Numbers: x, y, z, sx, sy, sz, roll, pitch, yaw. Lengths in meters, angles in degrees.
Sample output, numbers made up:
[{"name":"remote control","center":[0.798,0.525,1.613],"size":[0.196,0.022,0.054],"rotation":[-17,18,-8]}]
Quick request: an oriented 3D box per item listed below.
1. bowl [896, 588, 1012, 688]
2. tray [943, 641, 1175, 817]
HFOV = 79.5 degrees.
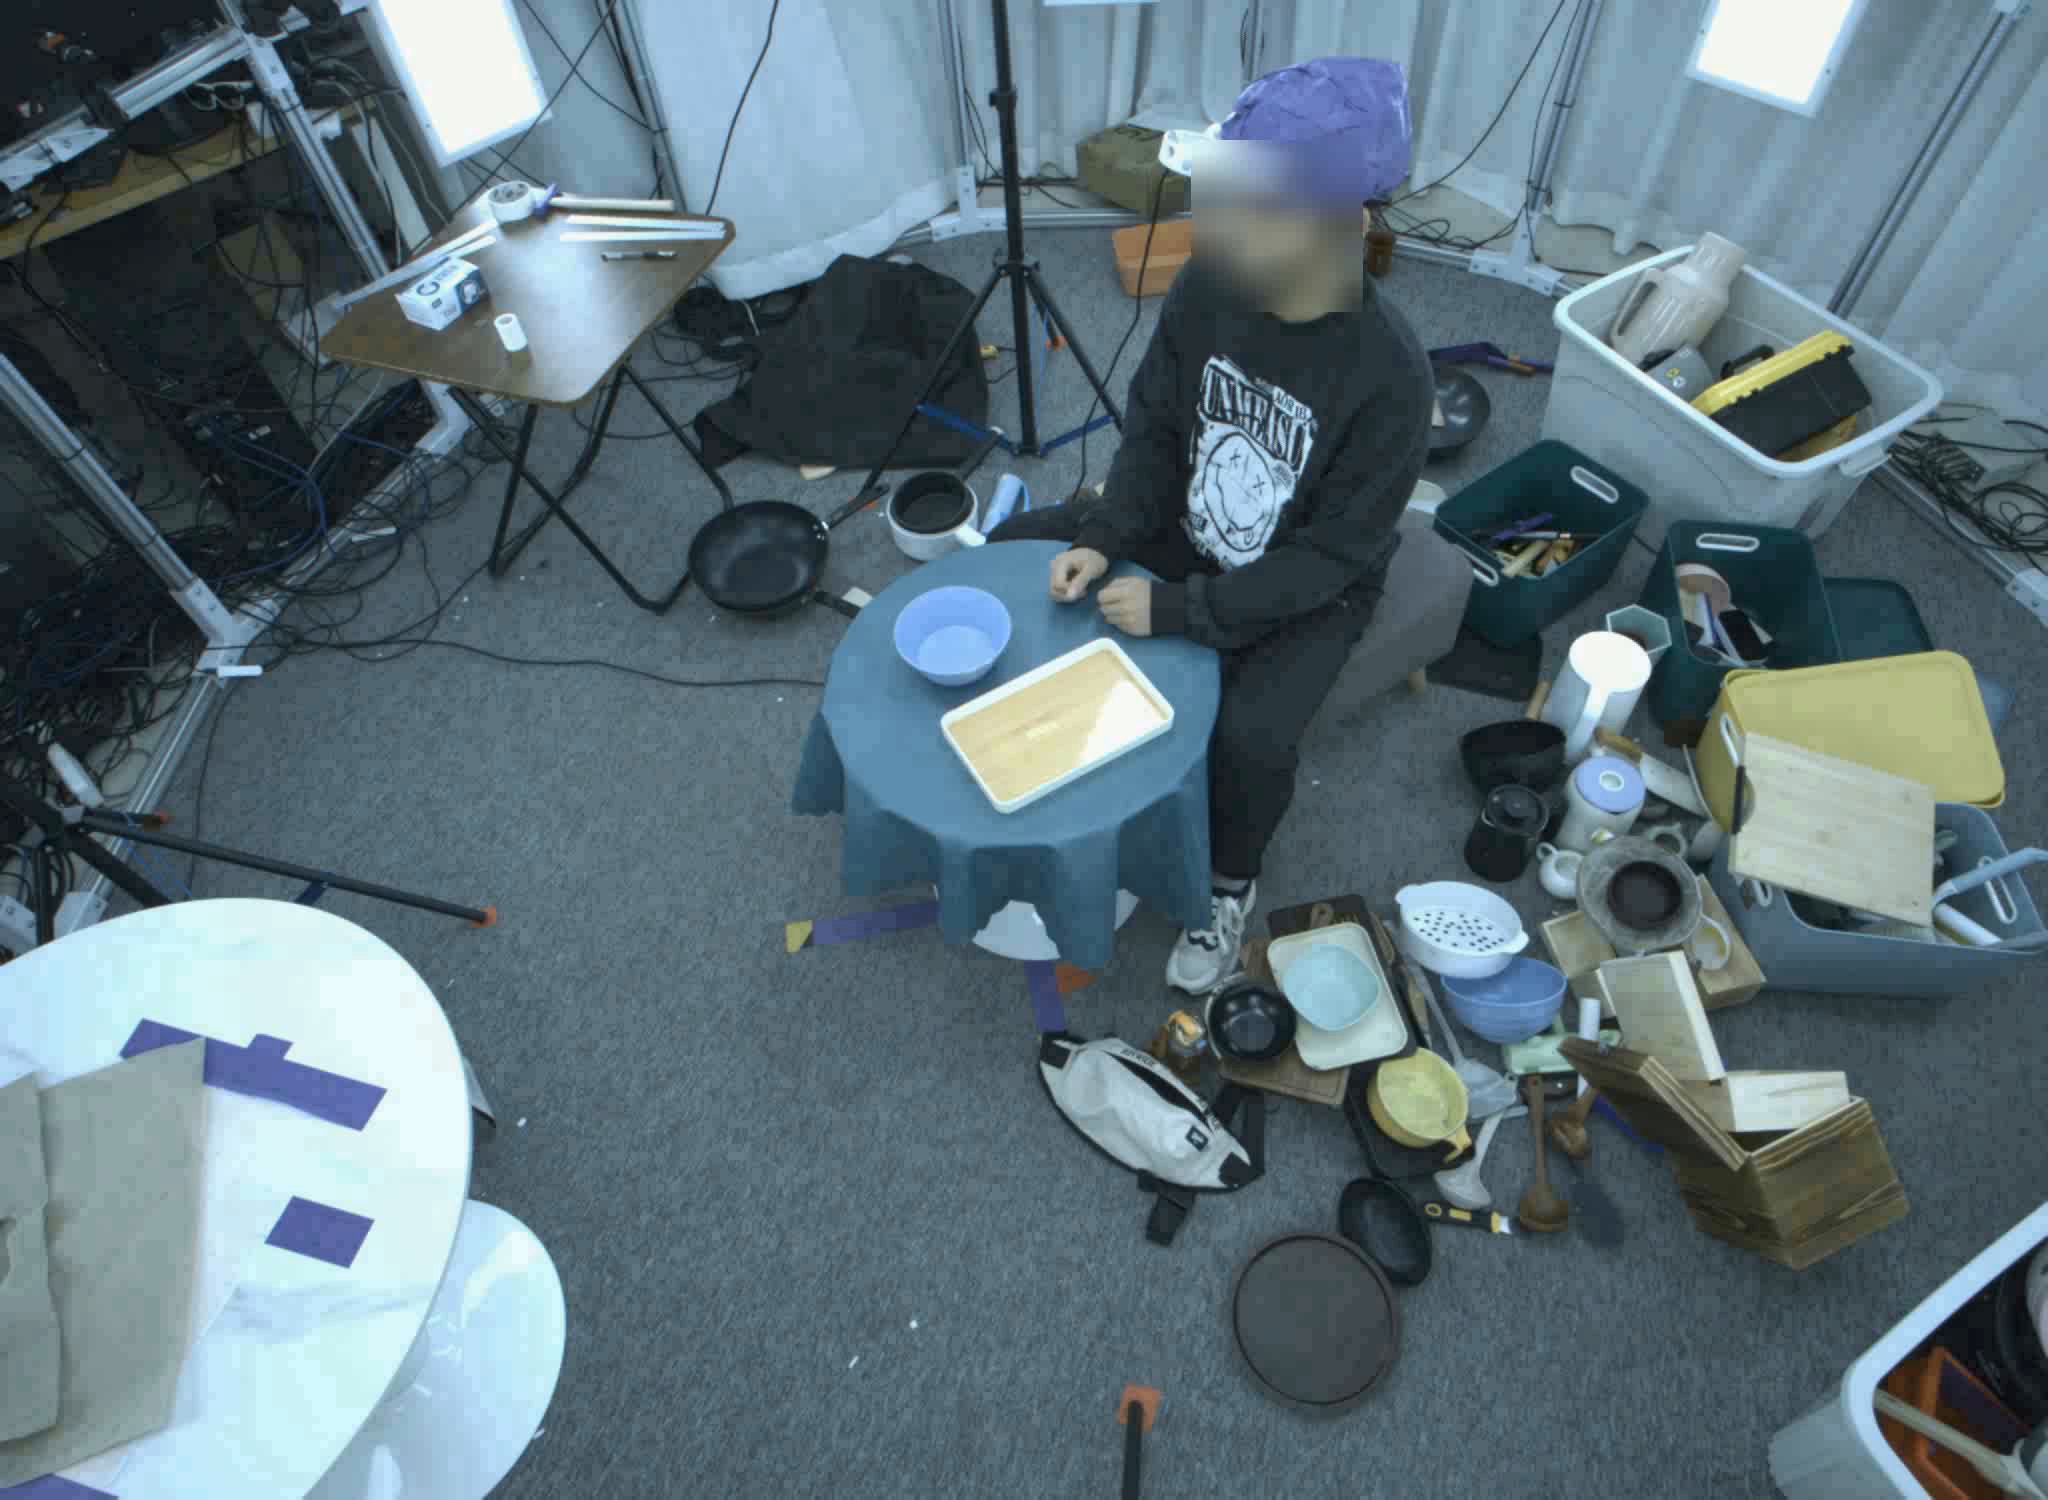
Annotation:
[{"name":"bowl","center":[-0.105,-0.160,1.870],"size":[0.176,0.071,0.174],"rotation":[0,56,1]},{"name":"tray","center":[0.052,-0.036,1.805],"size":[0.302,0.028,0.188],"rotation":[-27,58,-16]}]
